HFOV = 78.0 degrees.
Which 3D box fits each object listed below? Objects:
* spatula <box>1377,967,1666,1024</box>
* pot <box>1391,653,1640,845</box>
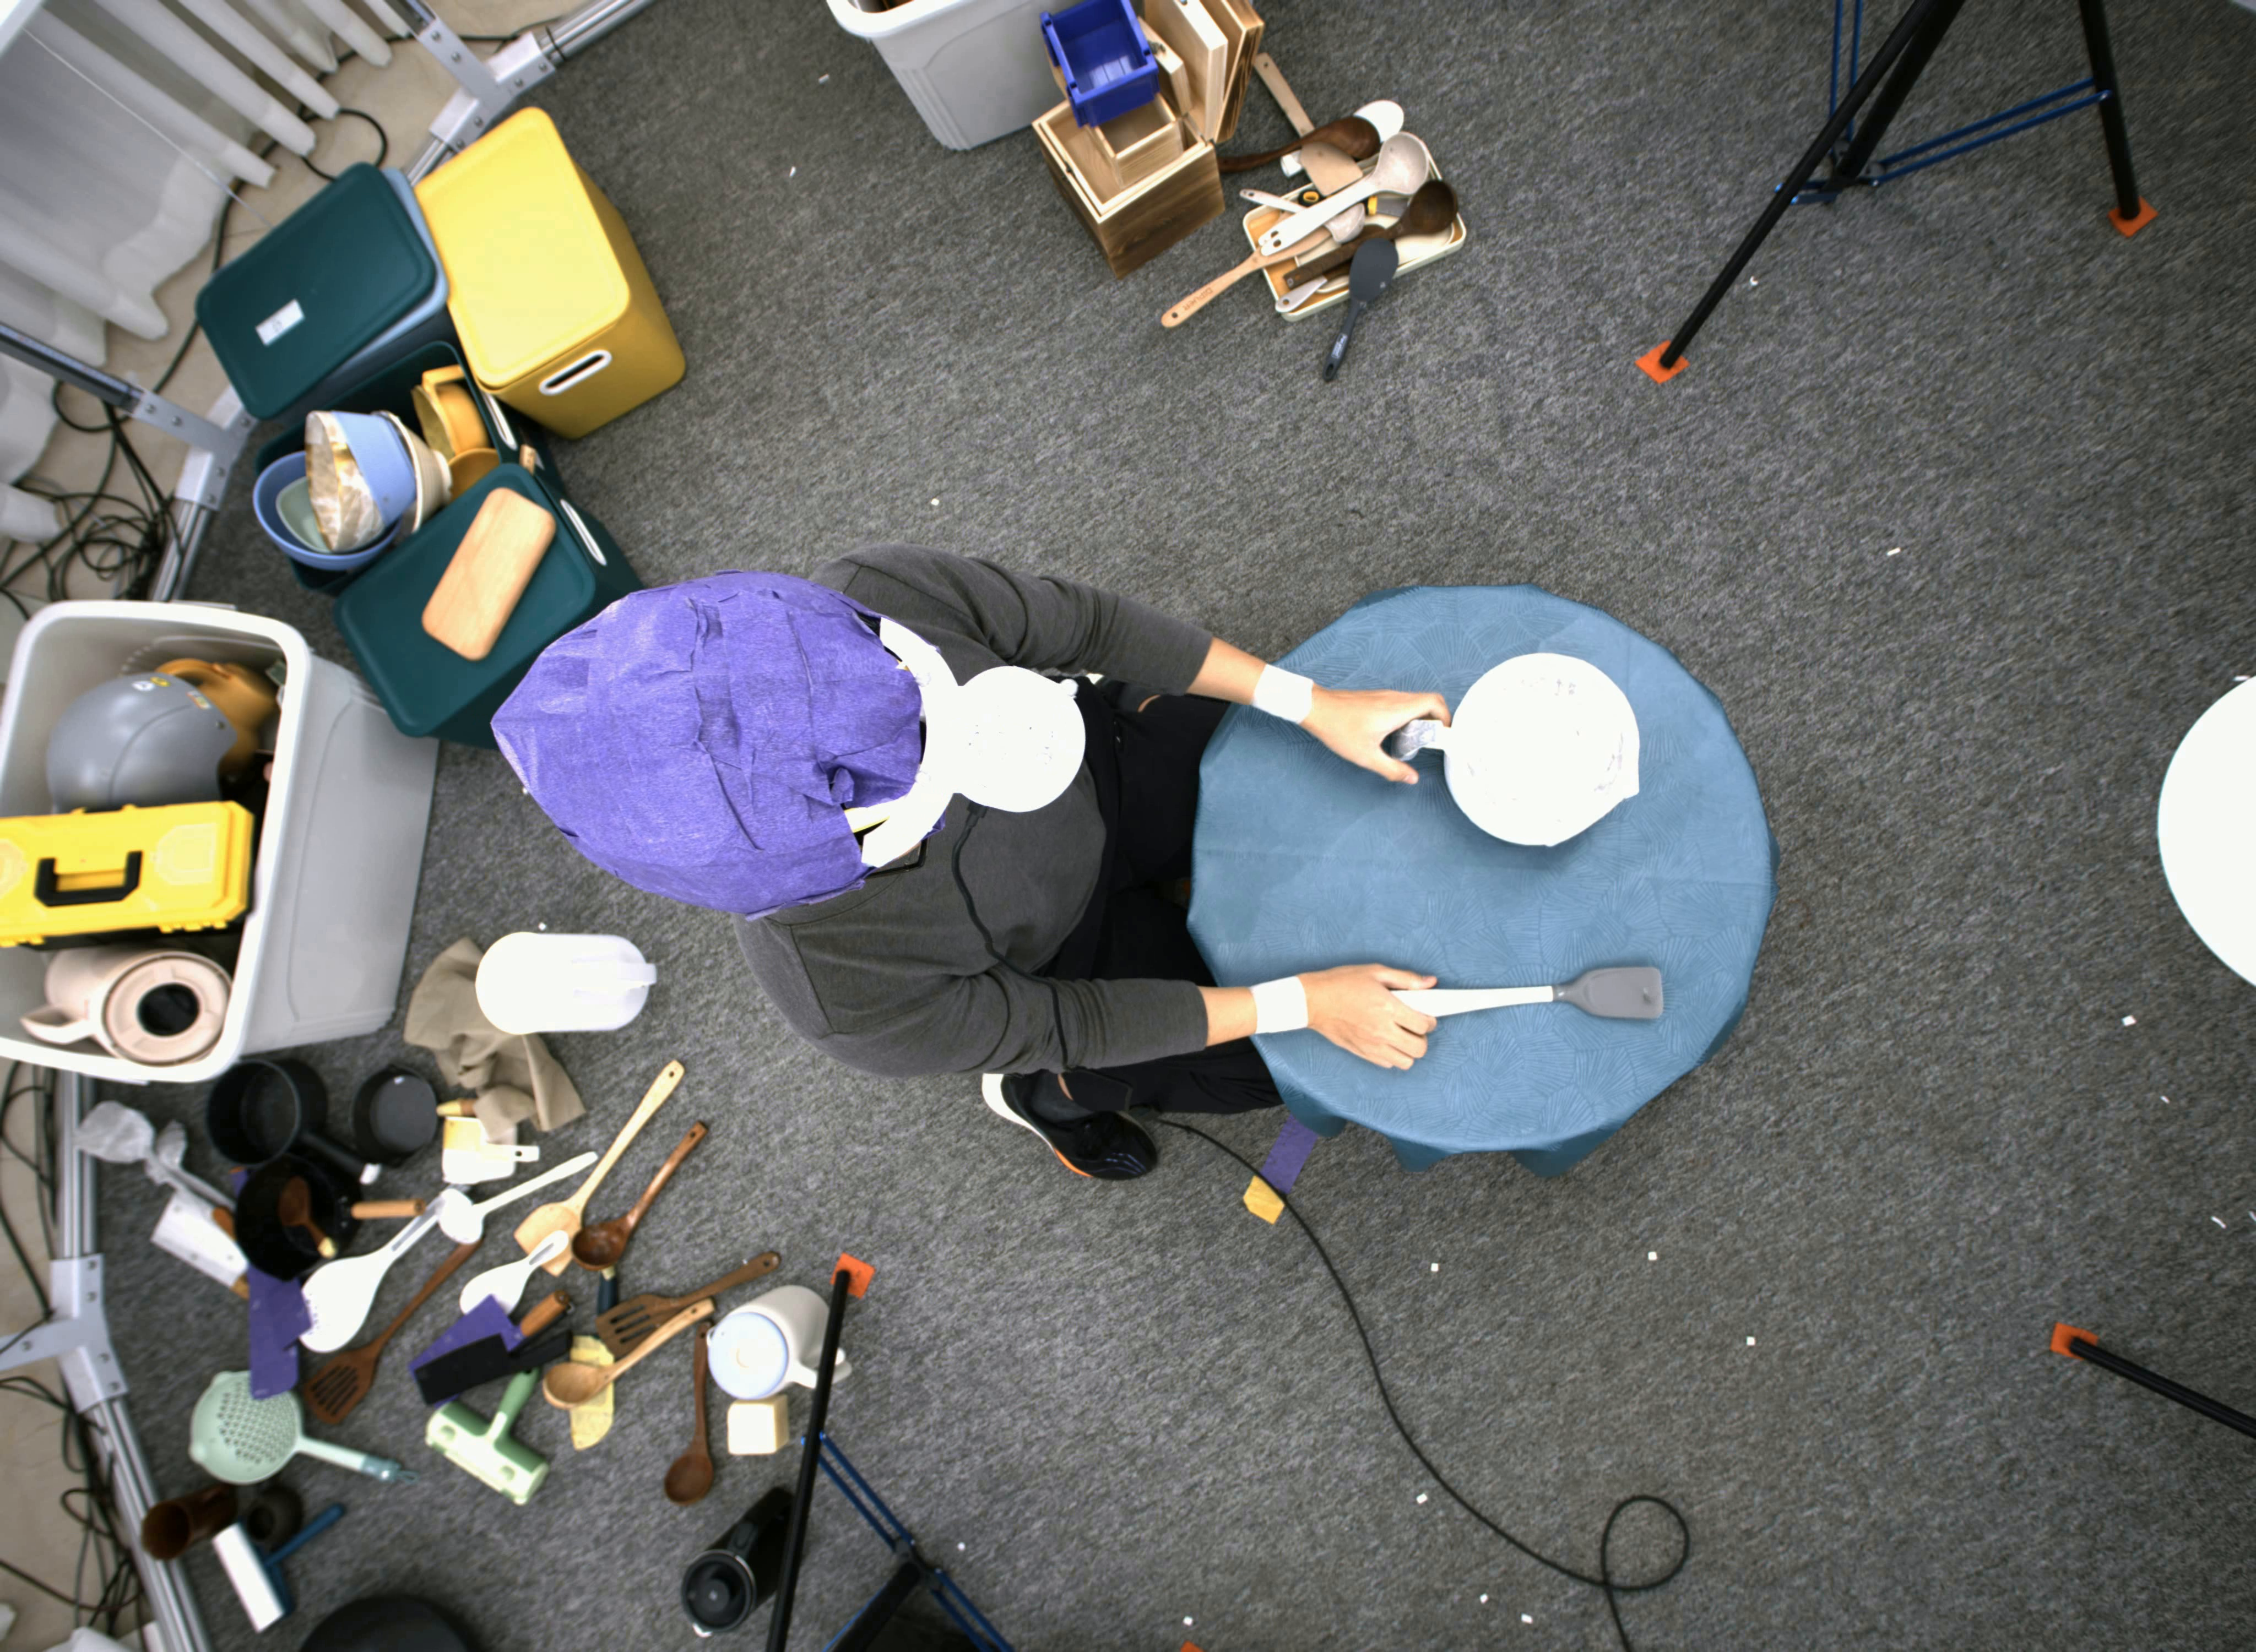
[{"bbox_3d":[0.401,0.175,1.413,0.289,0.032,0.059,-4,91,11],"label":"spatula"},{"bbox_3d":[0.382,-0.078,1.377,0.234,0.137,0.178,7,87,11],"label":"pot"}]
